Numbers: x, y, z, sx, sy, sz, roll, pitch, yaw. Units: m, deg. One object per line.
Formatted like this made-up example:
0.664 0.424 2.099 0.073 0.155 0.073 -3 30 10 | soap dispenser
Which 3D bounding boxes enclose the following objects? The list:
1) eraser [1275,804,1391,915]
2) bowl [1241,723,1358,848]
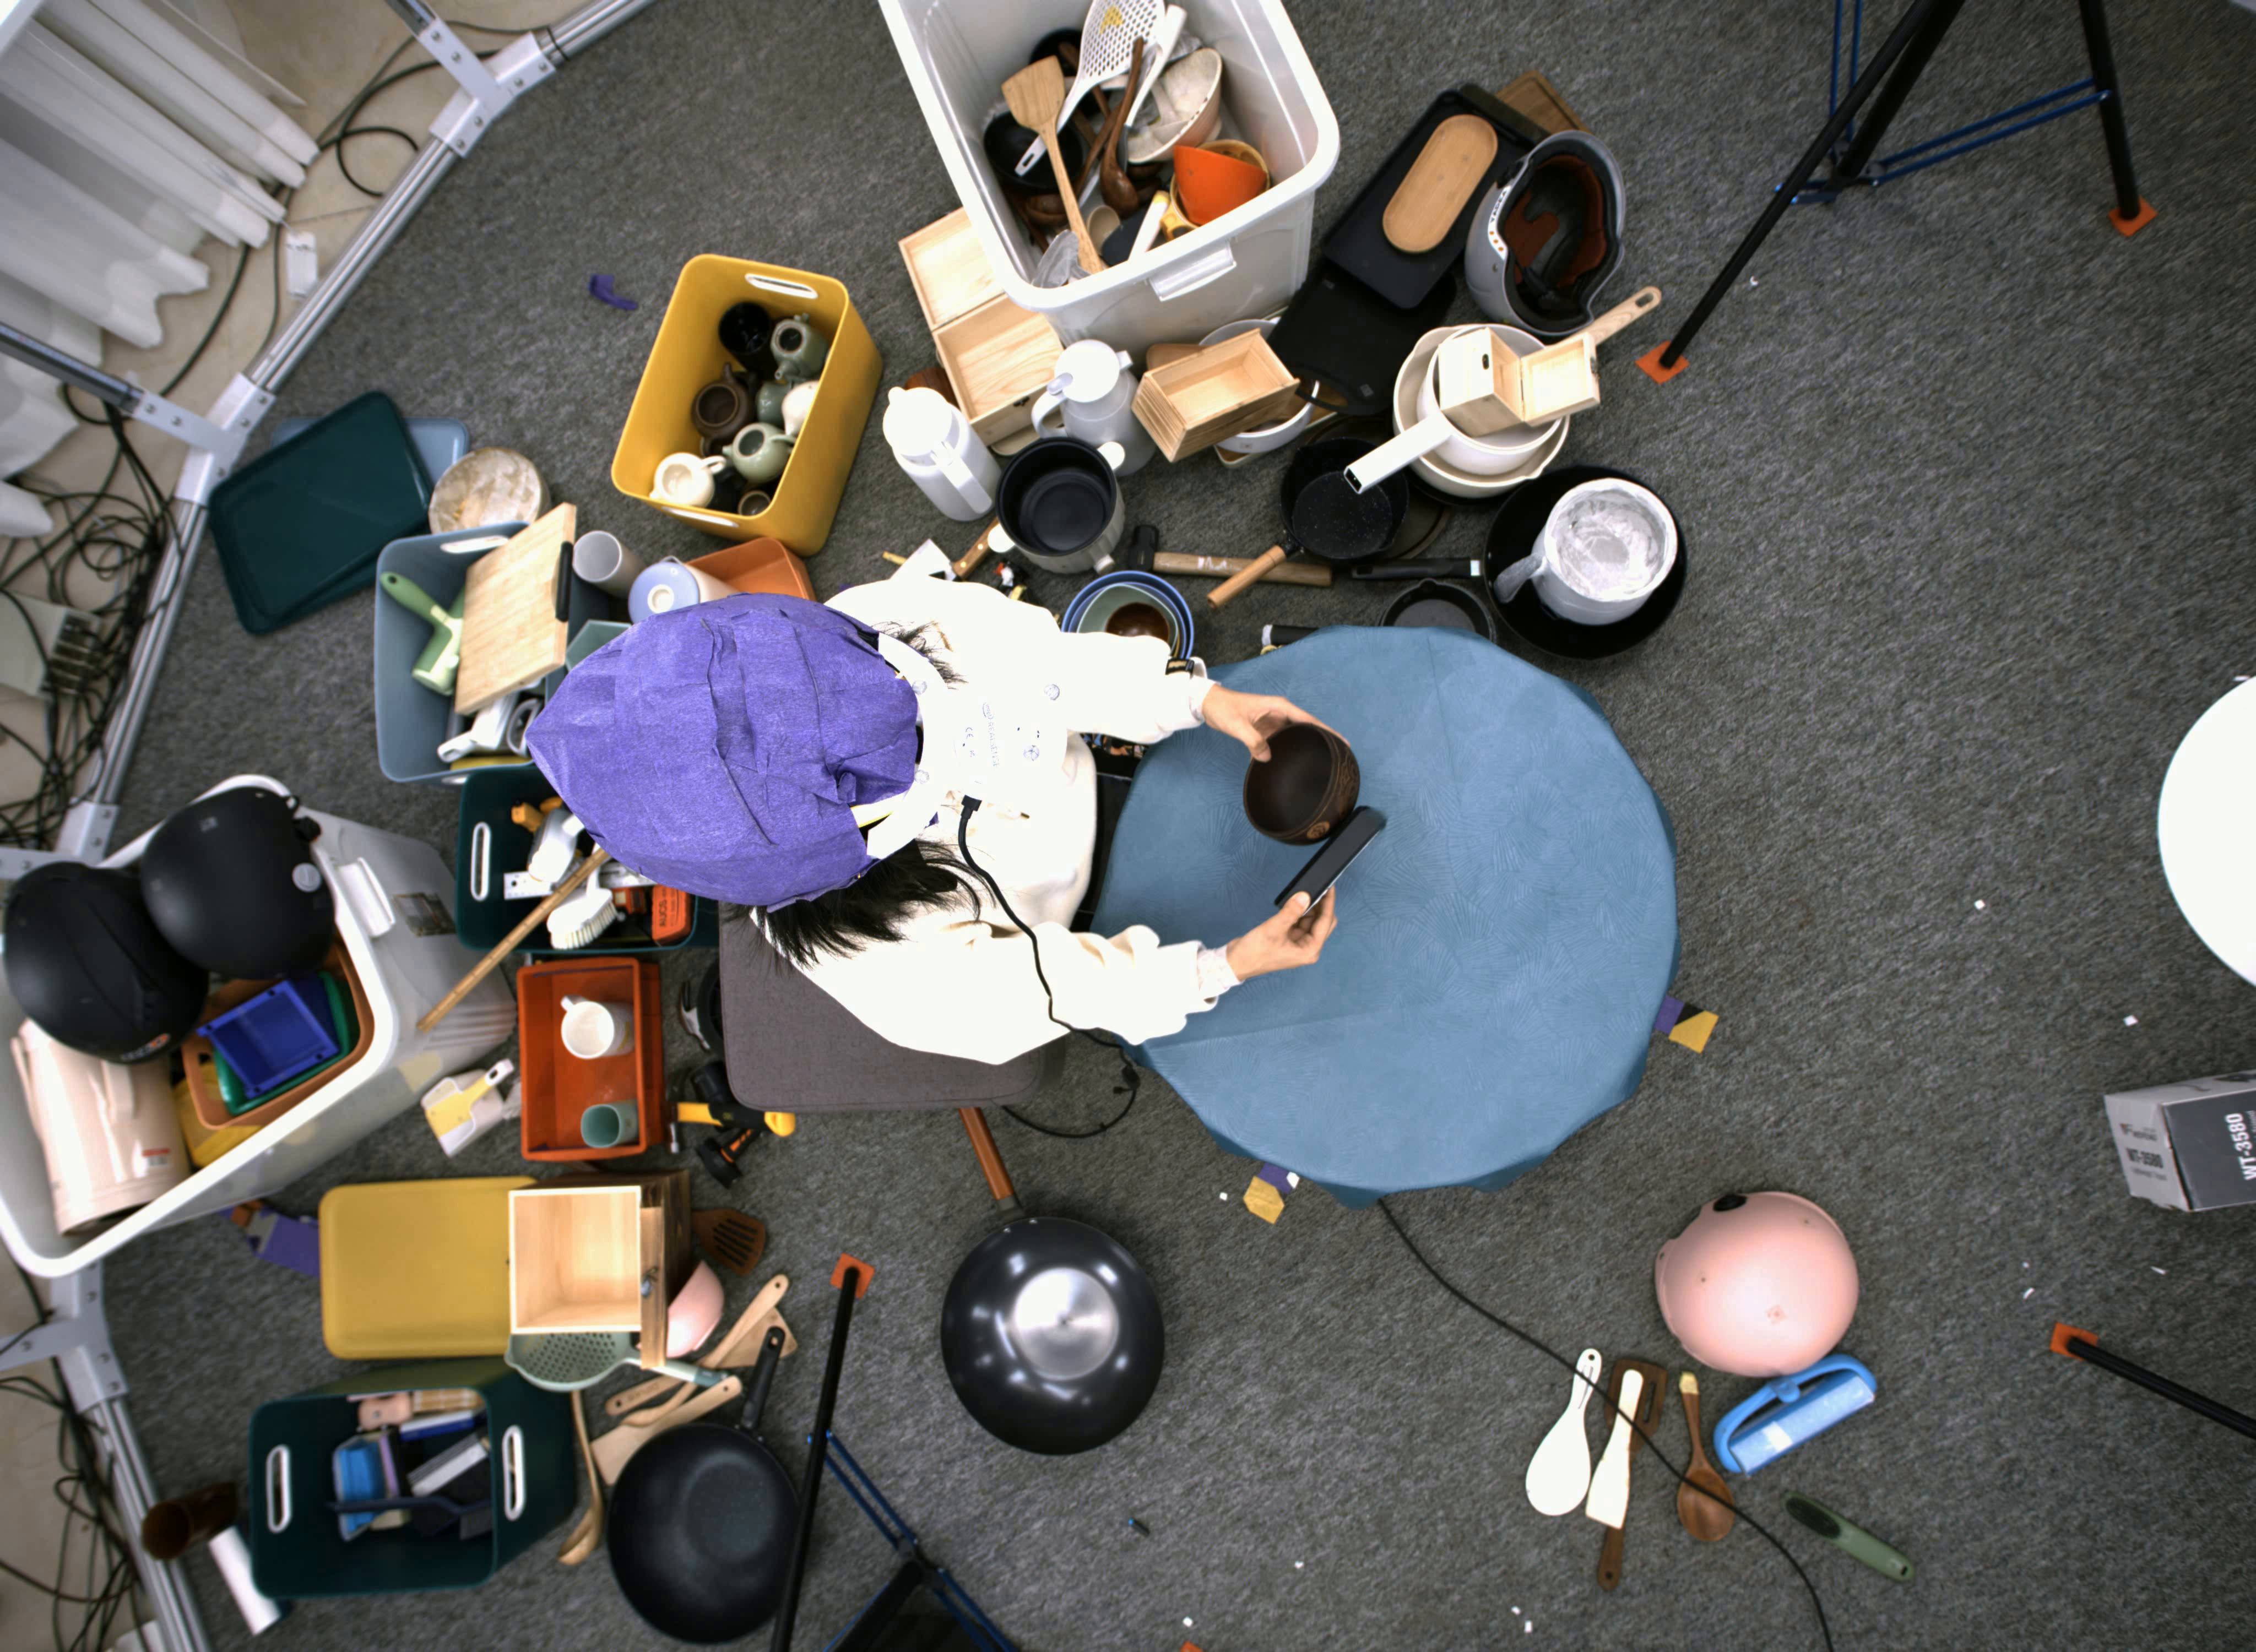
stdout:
0.196 0.031 1.320 0.030 0.053 0.127 46 108 12 | eraser
0.174 -0.035 1.335 0.120 0.070 0.115 -24 57 42 | bowl
